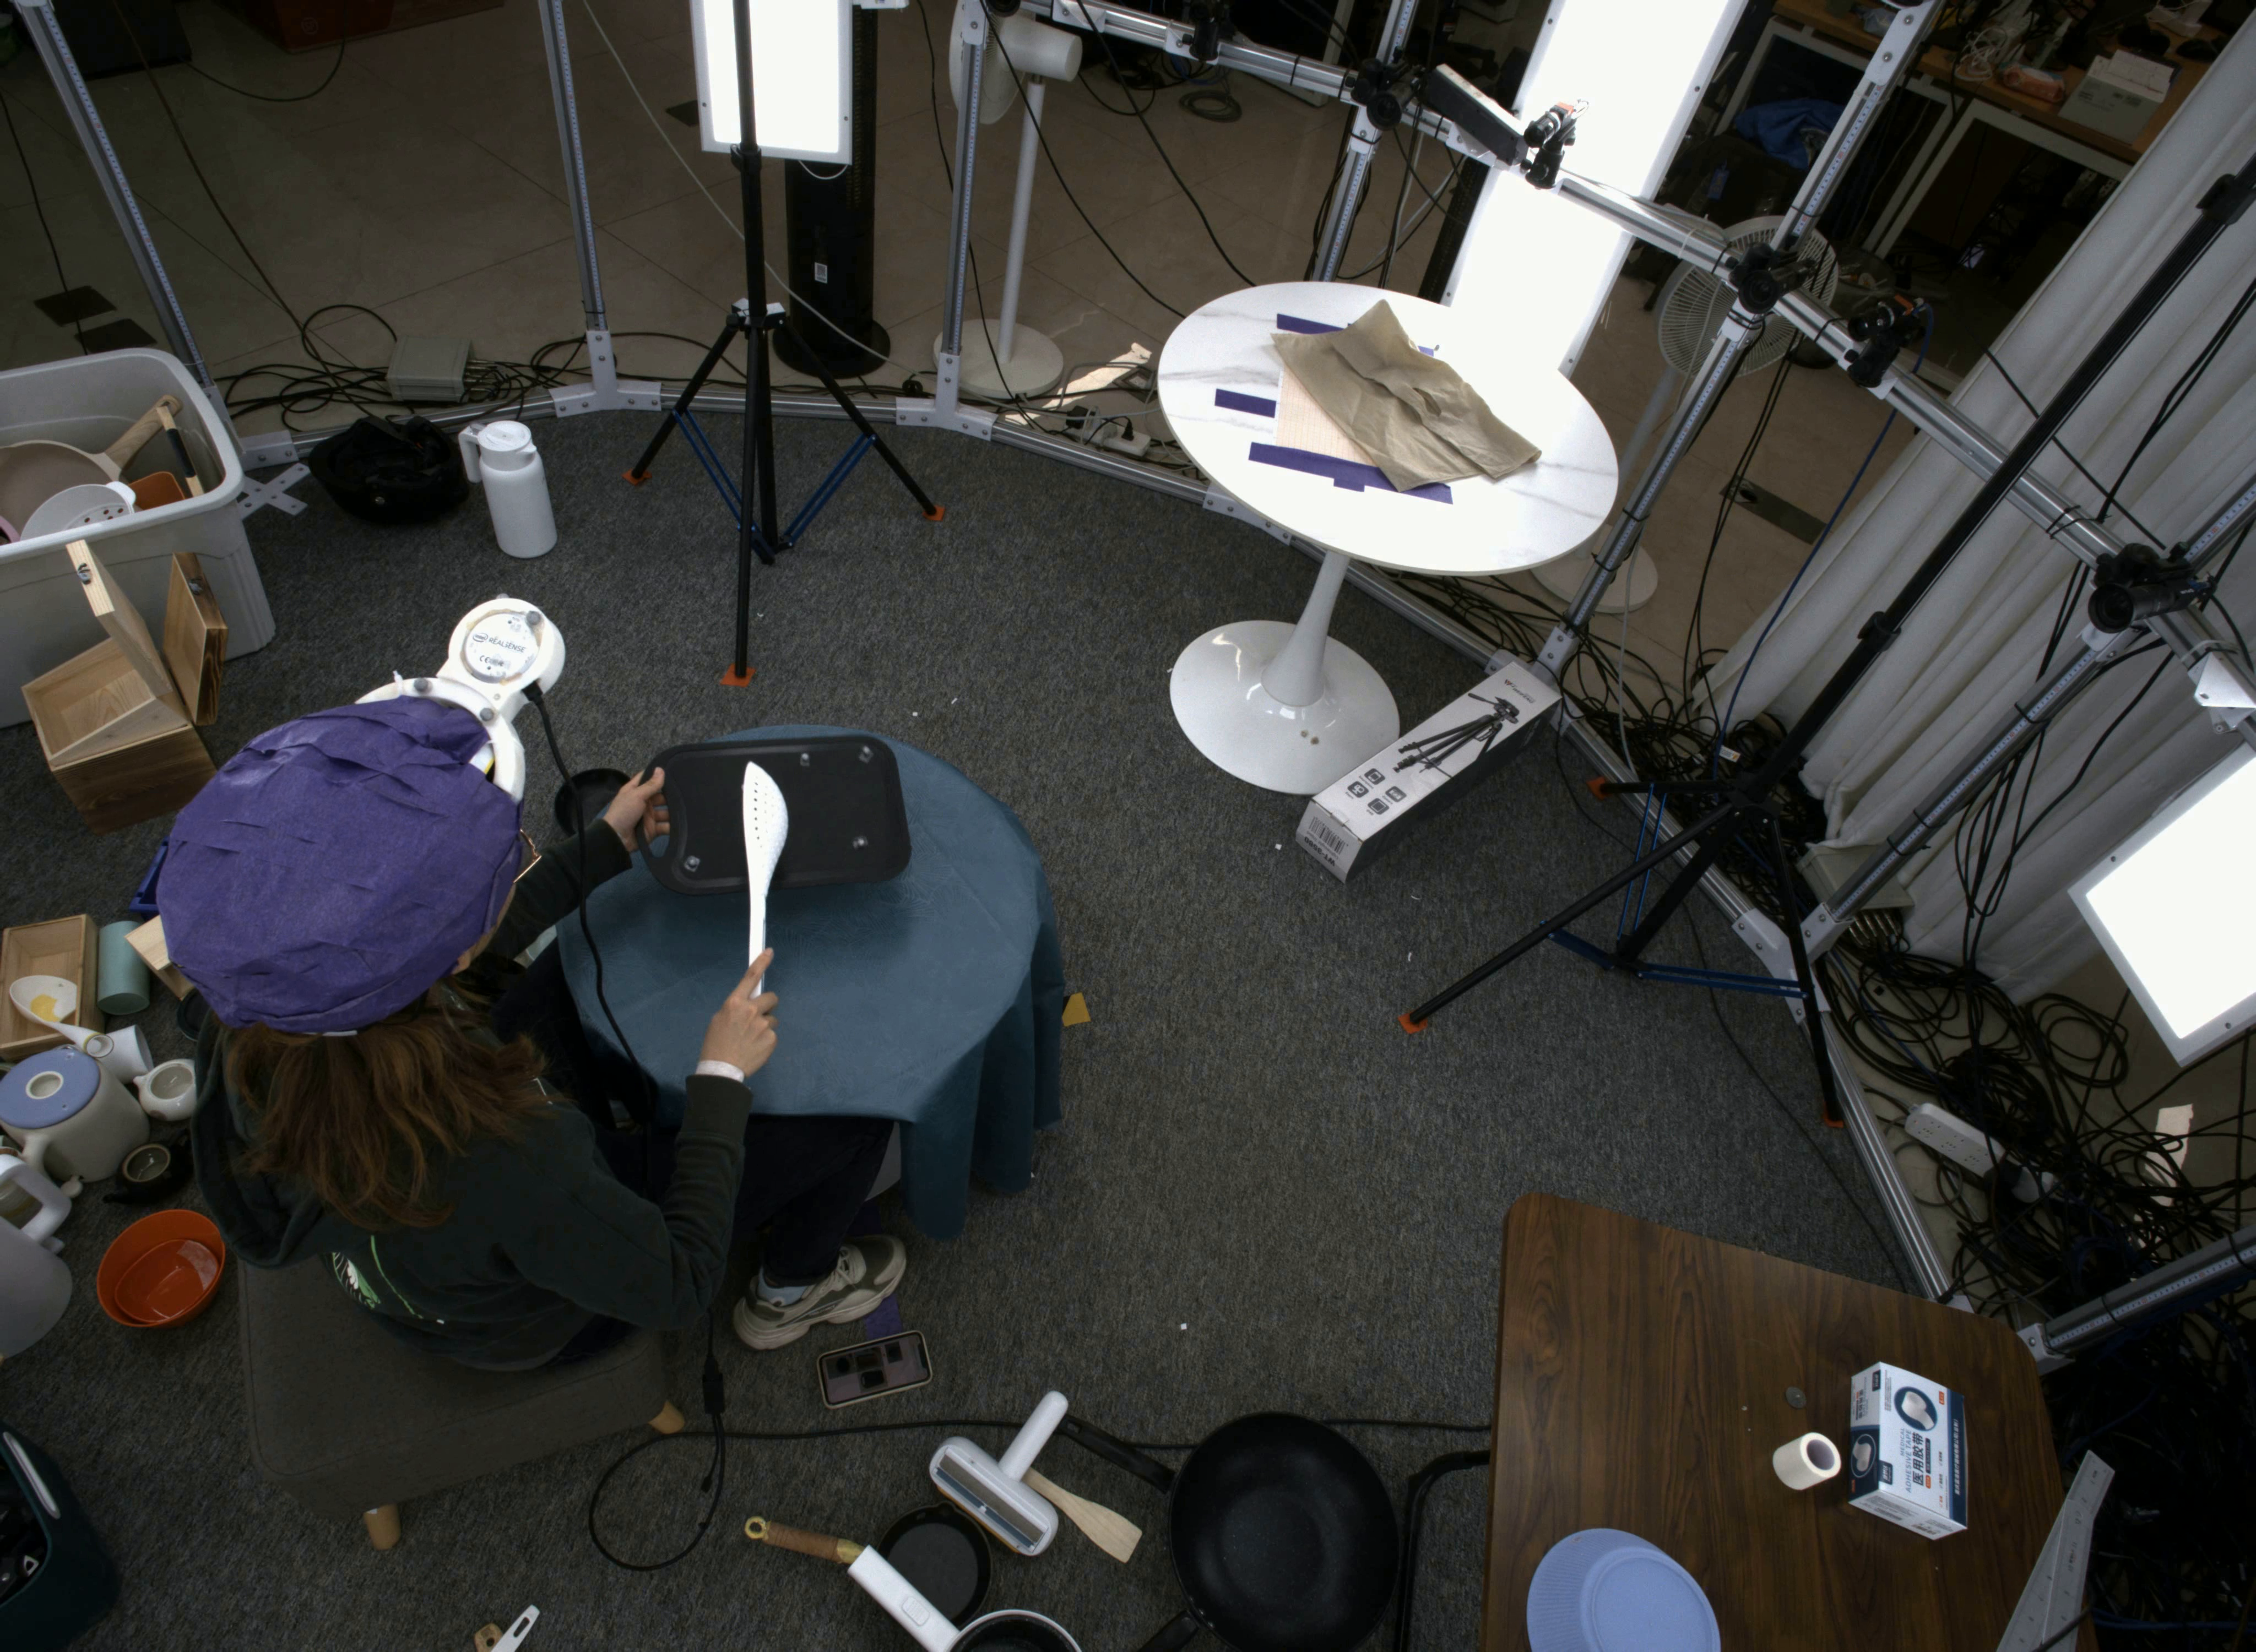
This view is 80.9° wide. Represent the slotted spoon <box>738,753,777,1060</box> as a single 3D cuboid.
[{"bbox_3d":[-0.424,0.086,1.467,0.046,0.136,0.347,1,71,-14],"label":"slotted spoon"}]

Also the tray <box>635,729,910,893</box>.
[{"bbox_3d":[-0.437,-0.024,1.588,0.327,0.010,0.208,-5,66,-22],"label":"tray"}]
